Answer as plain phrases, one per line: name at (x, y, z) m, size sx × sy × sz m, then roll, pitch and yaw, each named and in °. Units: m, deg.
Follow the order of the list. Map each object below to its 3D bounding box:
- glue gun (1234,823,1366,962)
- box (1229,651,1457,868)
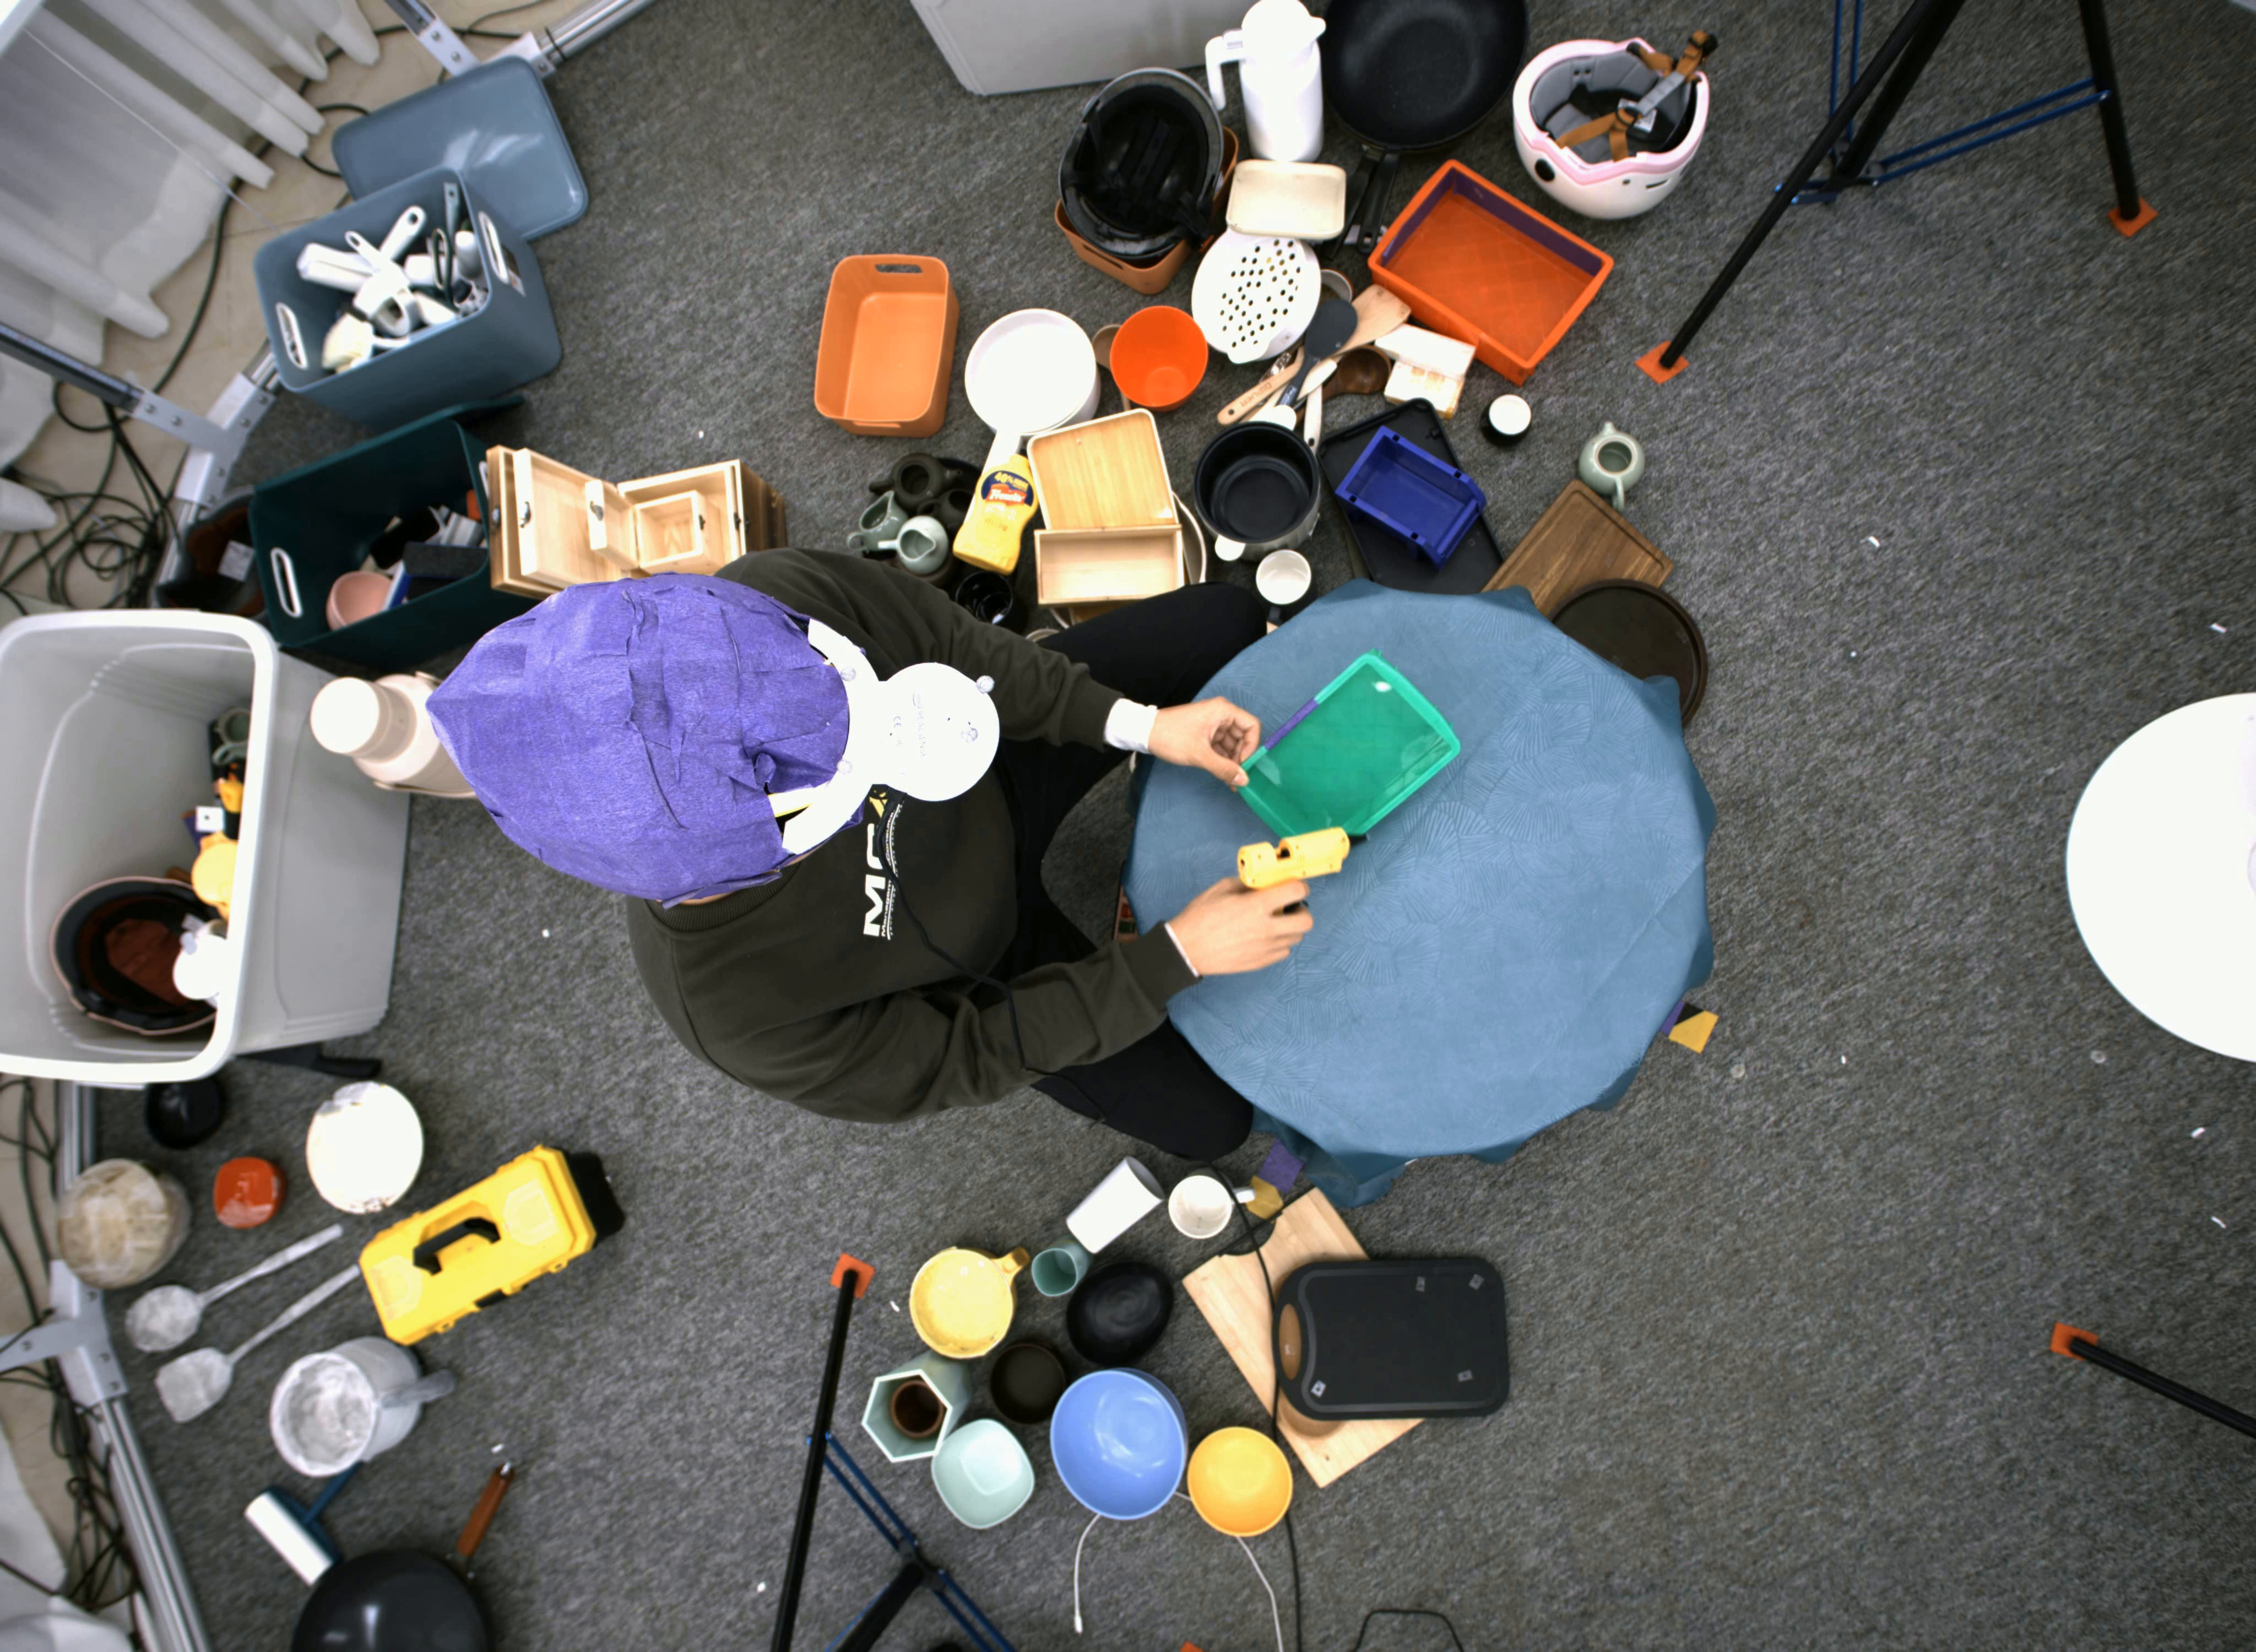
glue gun at (0.173, 0.058, 1.371) m, size 0.150 × 0.031 × 0.136 m, roll -16°, pitch 122°, yaw -22°
box at (0.220, -0.072, 1.398) m, size 0.139 × 0.064 × 0.215 m, roll 43°, pitch 121°, yaw -4°
